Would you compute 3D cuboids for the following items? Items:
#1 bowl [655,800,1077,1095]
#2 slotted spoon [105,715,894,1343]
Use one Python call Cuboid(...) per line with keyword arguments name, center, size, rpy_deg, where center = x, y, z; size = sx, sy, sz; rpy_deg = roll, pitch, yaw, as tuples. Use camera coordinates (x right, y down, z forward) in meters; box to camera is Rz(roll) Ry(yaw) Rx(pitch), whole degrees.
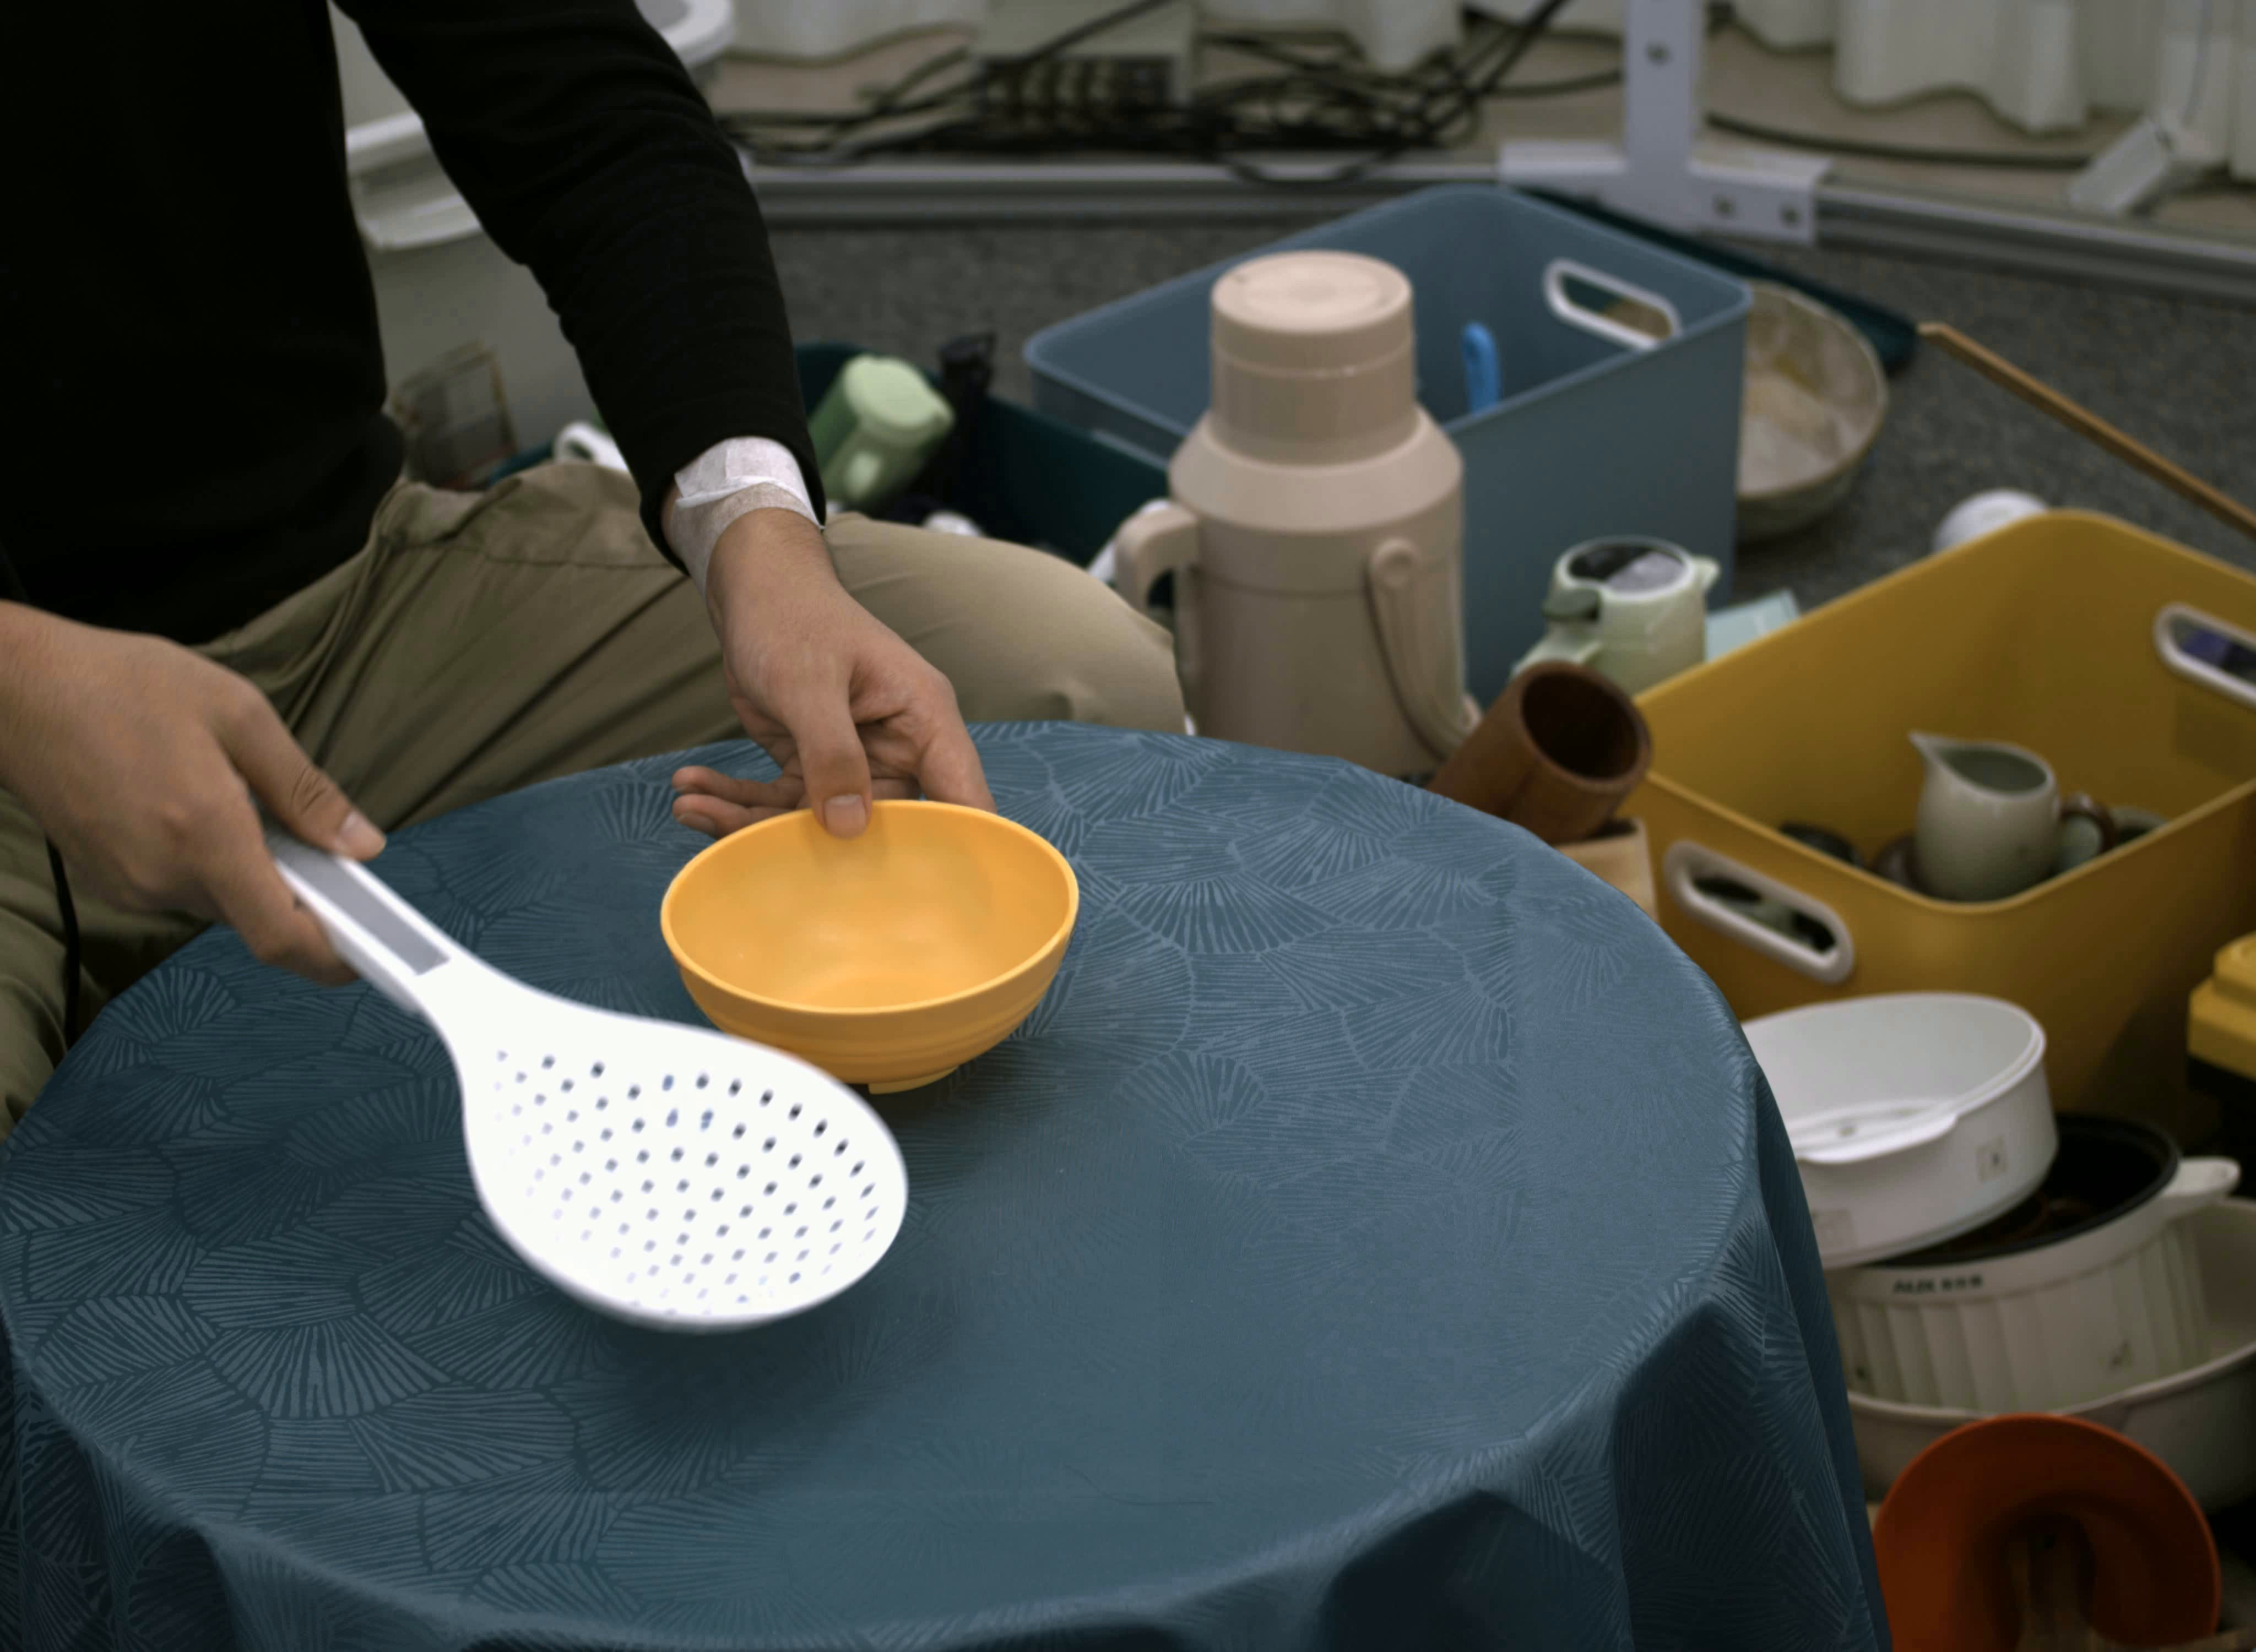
Cuboid(name="bowl", center=(-0.090, 0.052, 1.942), size=(0.144, 0.059, 0.147), rpy_deg=(0, 29, 0))
Cuboid(name="slotted spoon", center=(-0.217, 0.062, 1.822), size=(0.137, 0.045, 0.351), rpy_deg=(-25, 55, -40))
